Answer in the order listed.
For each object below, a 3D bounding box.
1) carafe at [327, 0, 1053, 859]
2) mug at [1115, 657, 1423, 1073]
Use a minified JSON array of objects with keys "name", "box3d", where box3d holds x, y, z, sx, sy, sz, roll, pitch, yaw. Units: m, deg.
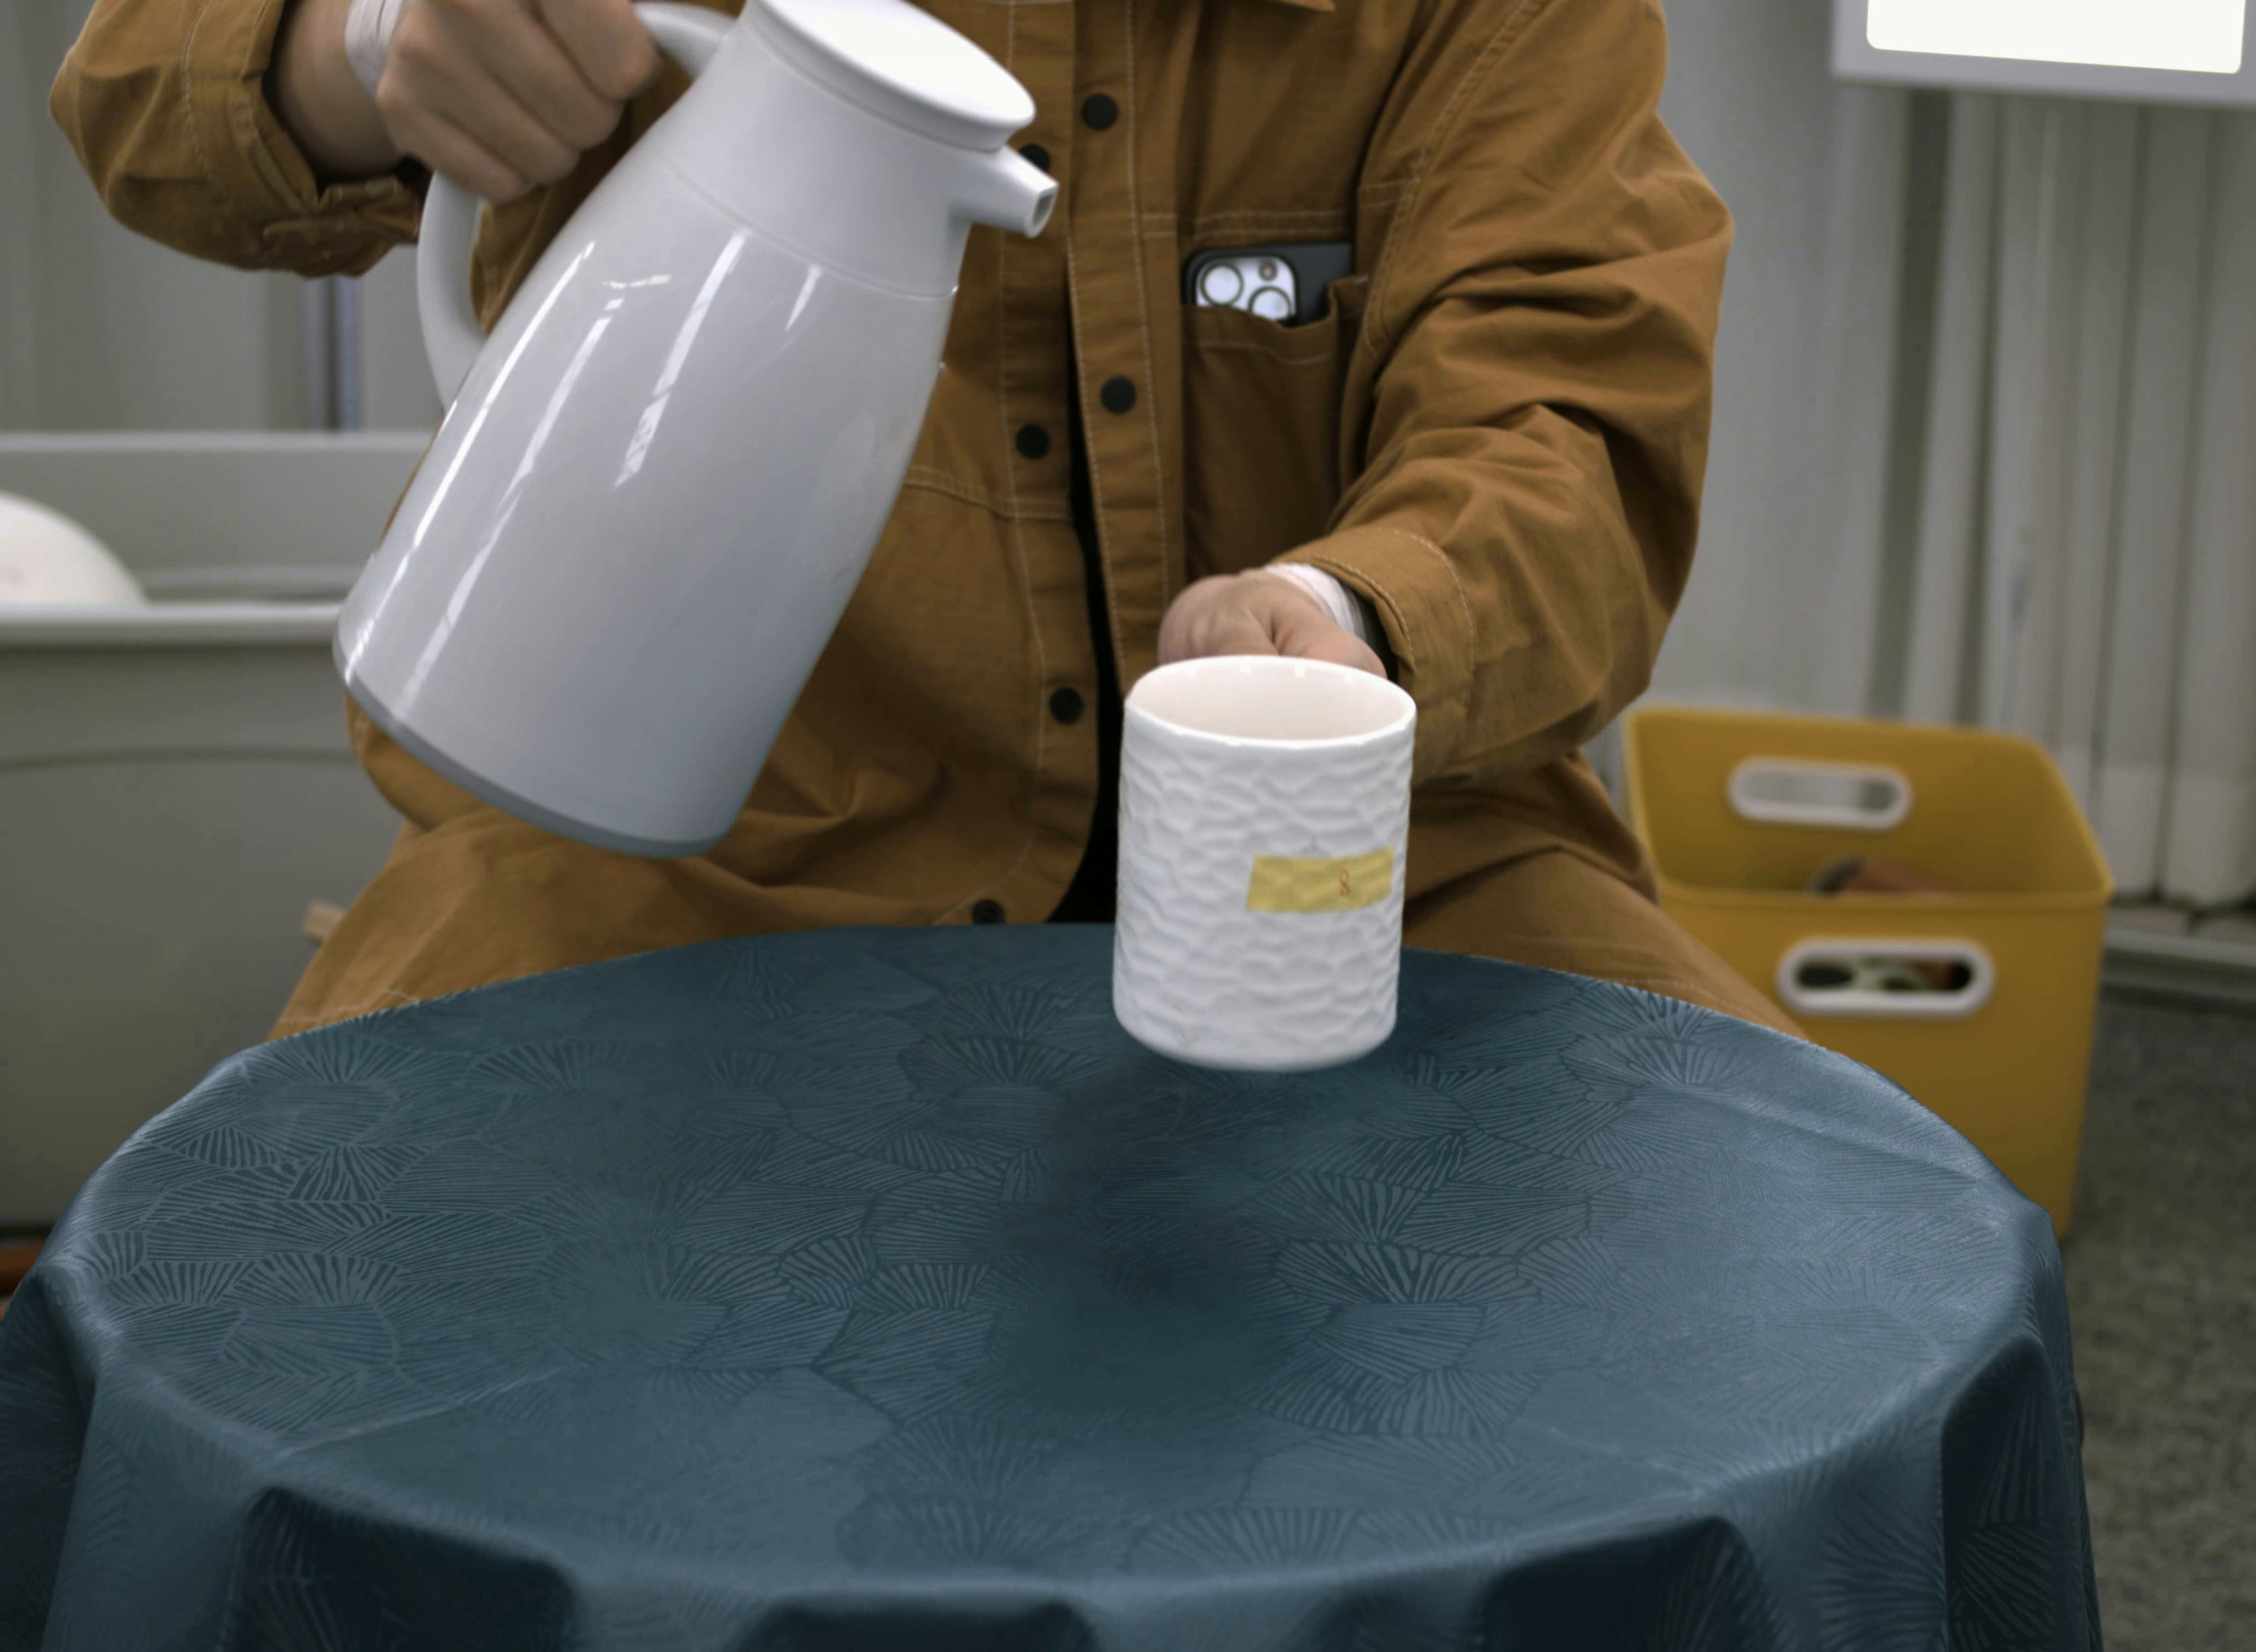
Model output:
[{"name":"carafe","box3d":[-0.138,-0.138,1.527,0.167,0.249,0.132,31,20,6]},{"name":"mug","box3d":[0.038,0.007,1.543,0.085,0.103,0.117,1,18,-8]}]
